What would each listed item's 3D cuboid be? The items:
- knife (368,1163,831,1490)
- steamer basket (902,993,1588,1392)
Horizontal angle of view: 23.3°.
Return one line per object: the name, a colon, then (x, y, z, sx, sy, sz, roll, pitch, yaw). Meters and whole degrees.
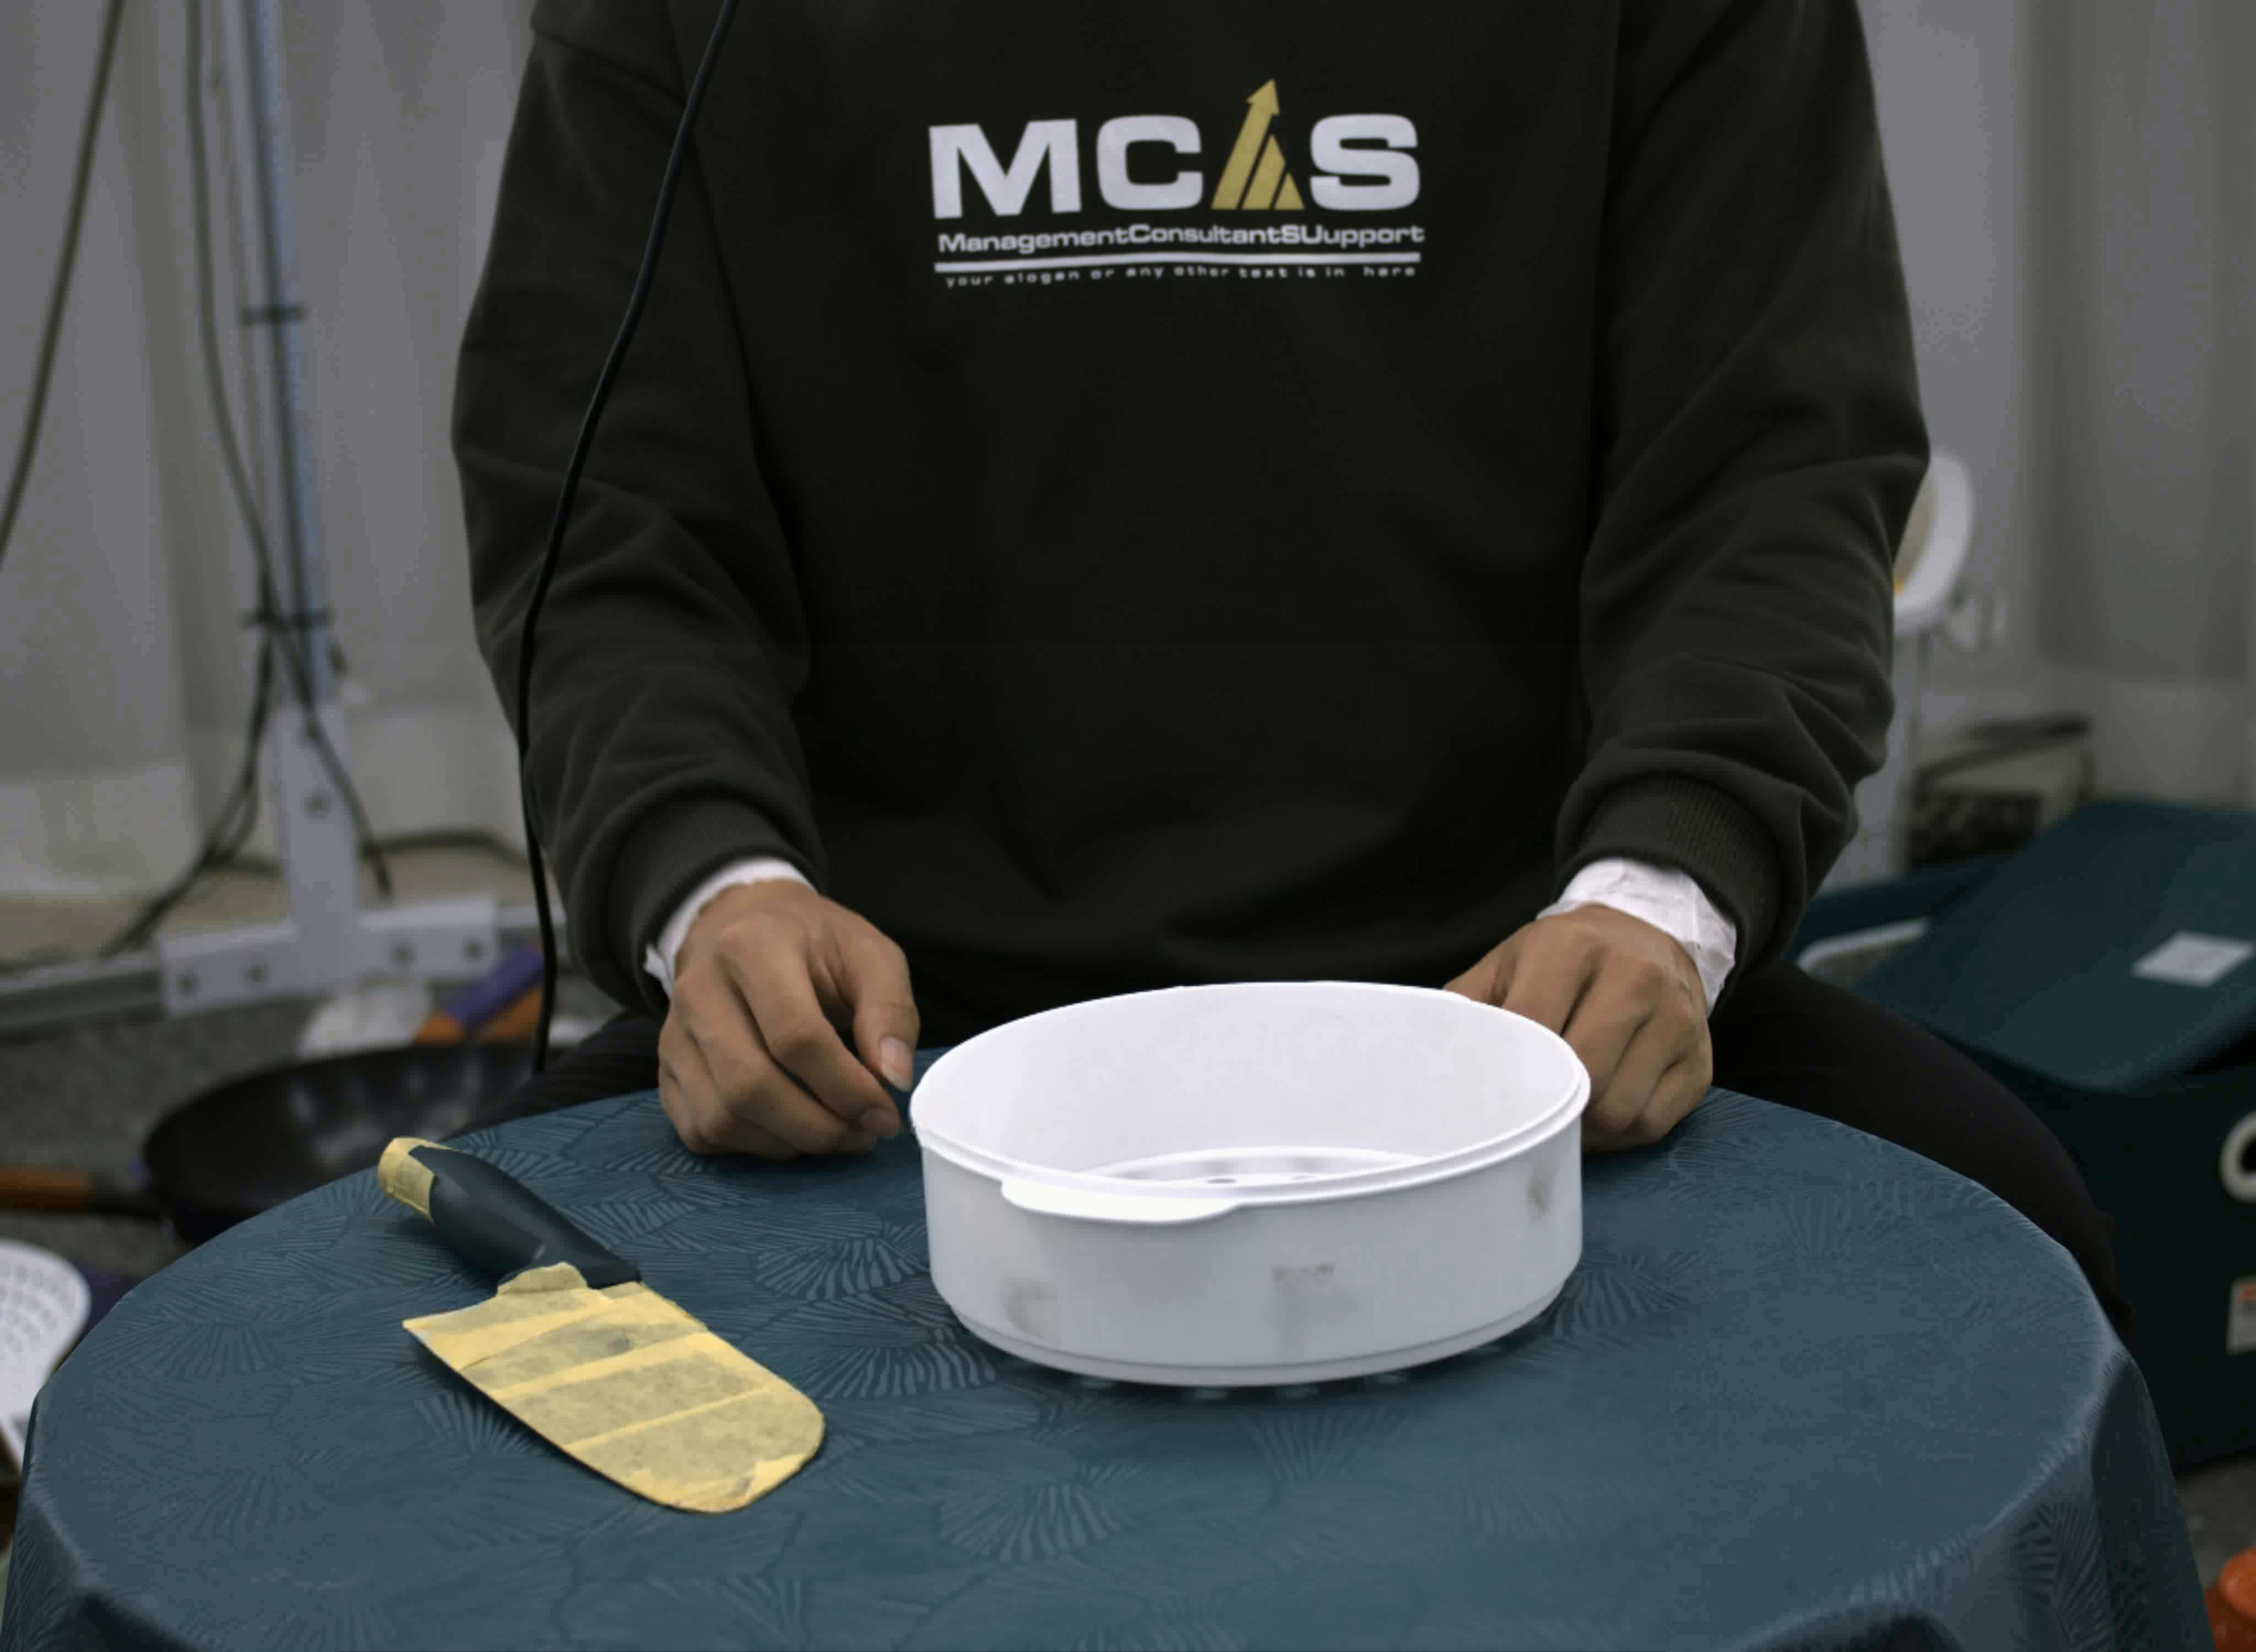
knife: (-0.169, 0.147, 1.598, 0.080, 0.027, 0.292, -8, 16, -28)
steamer basket: (0.035, 0.107, 1.609, 0.202, 0.069, 0.231, 5, 15, 24)
